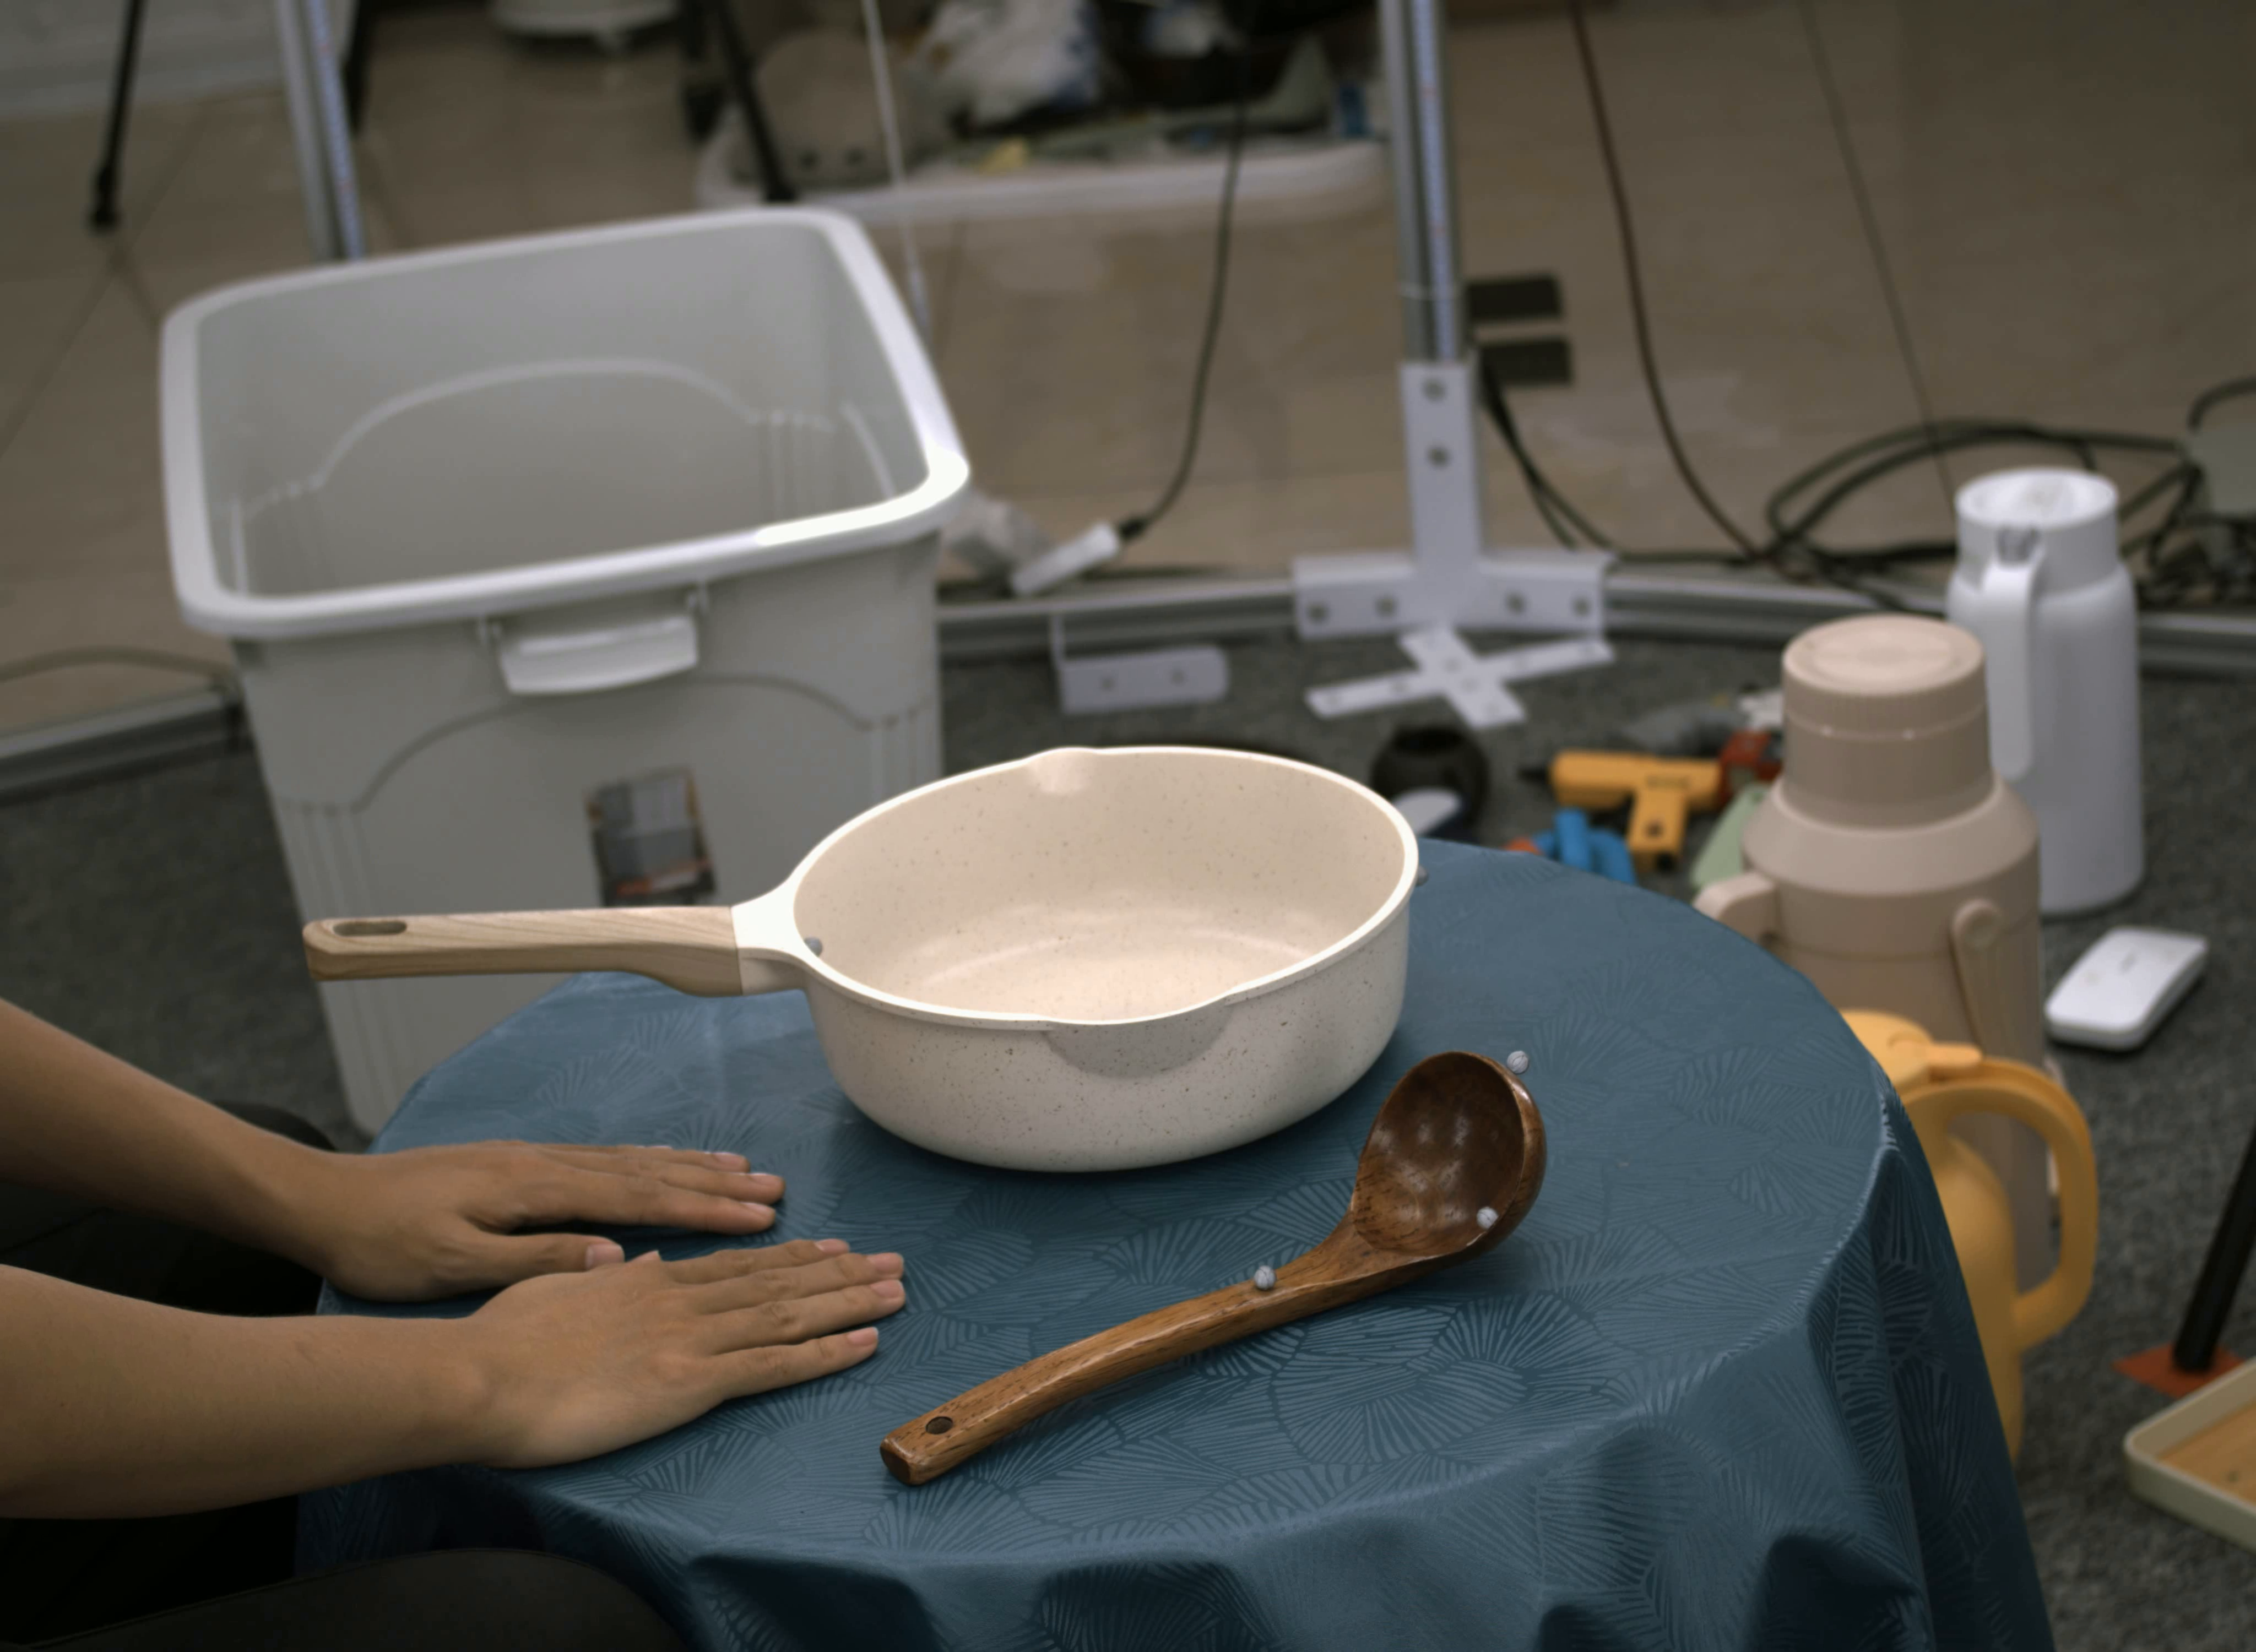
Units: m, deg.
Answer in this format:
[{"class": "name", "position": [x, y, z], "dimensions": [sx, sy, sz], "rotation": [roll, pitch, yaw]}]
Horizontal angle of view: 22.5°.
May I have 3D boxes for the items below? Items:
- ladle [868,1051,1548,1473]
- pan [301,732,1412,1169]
[{"class": "ladle", "position": [0.029, 0.153, 2.020], "dimensions": [0.272, 0.078, 0.081], "rotation": [-18, 29, -25]}, {"class": "pan", "position": [-0.101, 0.060, 2.228], "dimensions": [0.434, 0.103, 0.259], "rotation": [-9, 26, -5]}]
